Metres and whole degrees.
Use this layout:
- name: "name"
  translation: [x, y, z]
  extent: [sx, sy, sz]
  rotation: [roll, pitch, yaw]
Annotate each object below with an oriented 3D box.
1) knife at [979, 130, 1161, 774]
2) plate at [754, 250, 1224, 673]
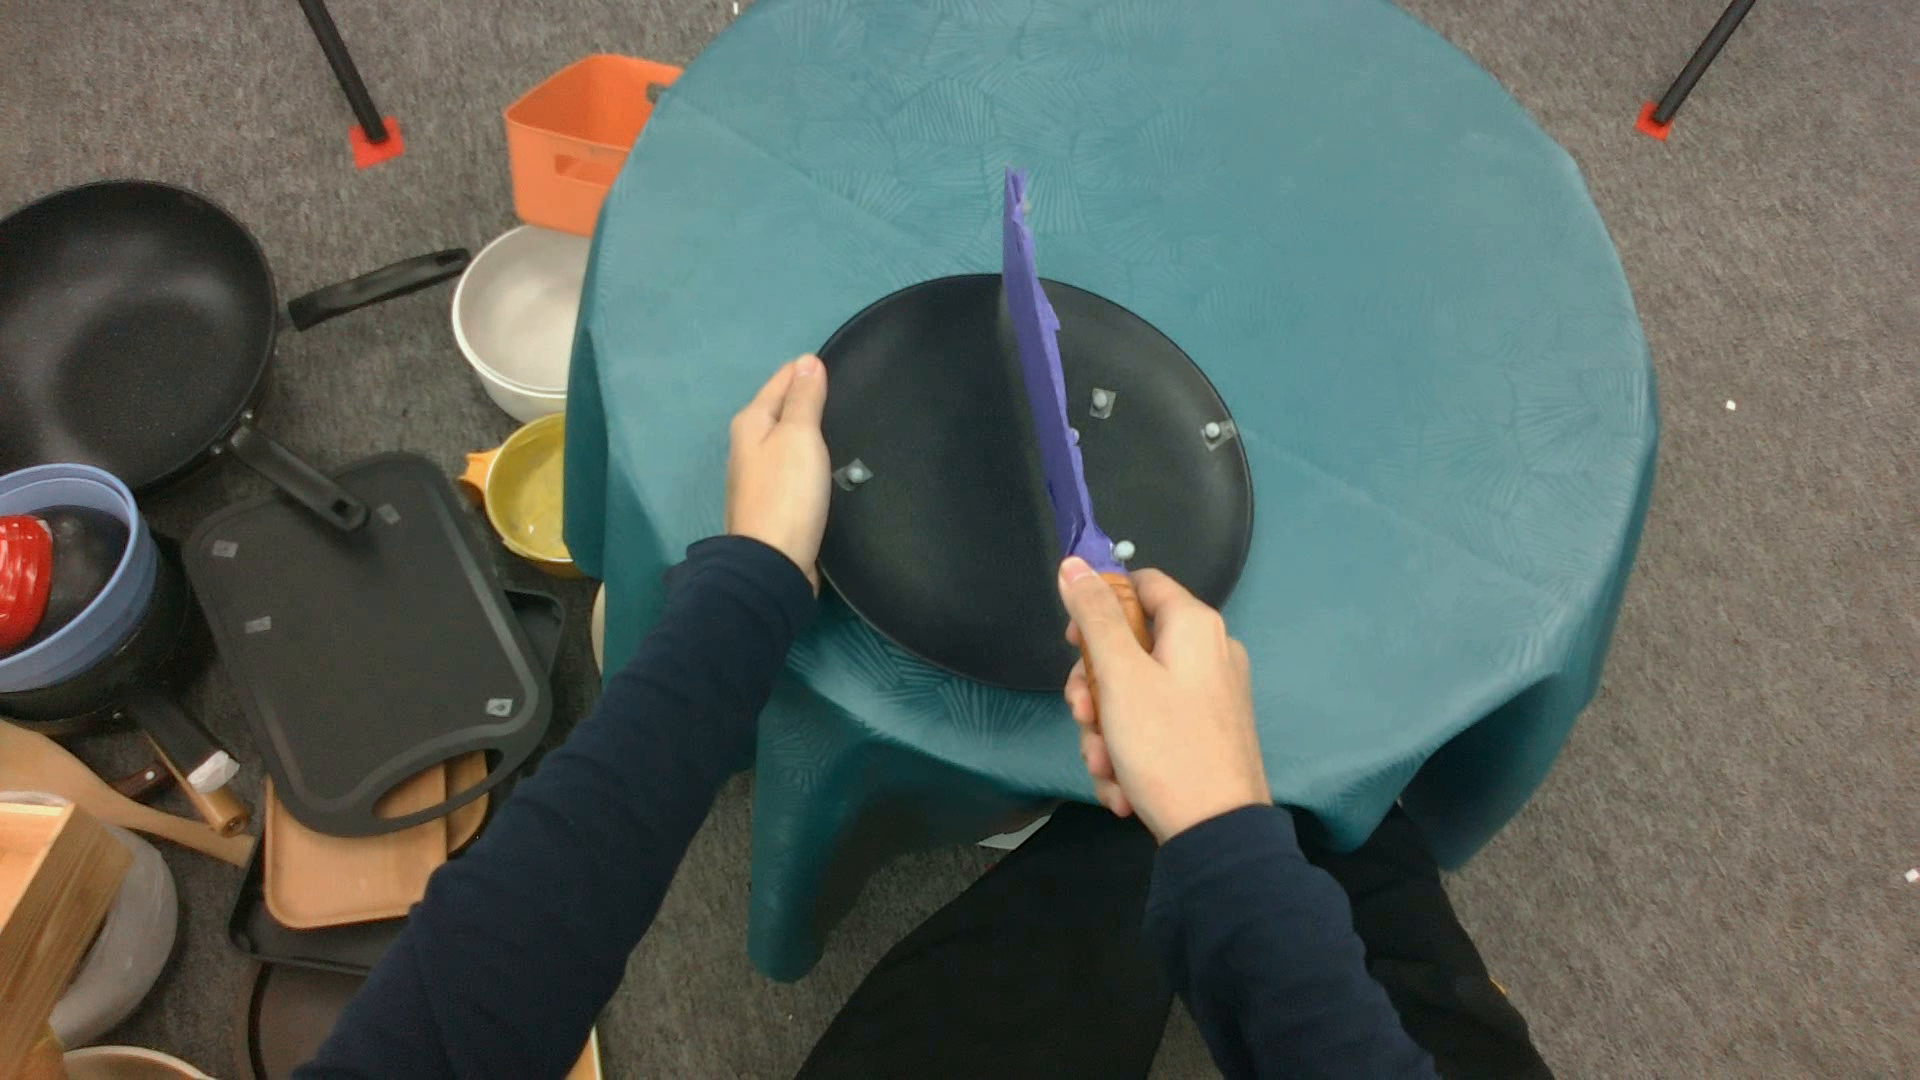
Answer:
- name: "knife"
  translation: [0.044, -0.039, 0.642]
  extent: [0.032, 0.103, 0.316]
  rotation: [-8, 66, -3]
- name: "plate"
  translation: [0.017, -0.043, 0.702]
  extent: [0.244, 0.023, 0.245]
  rotation: [6, 63, -11]
